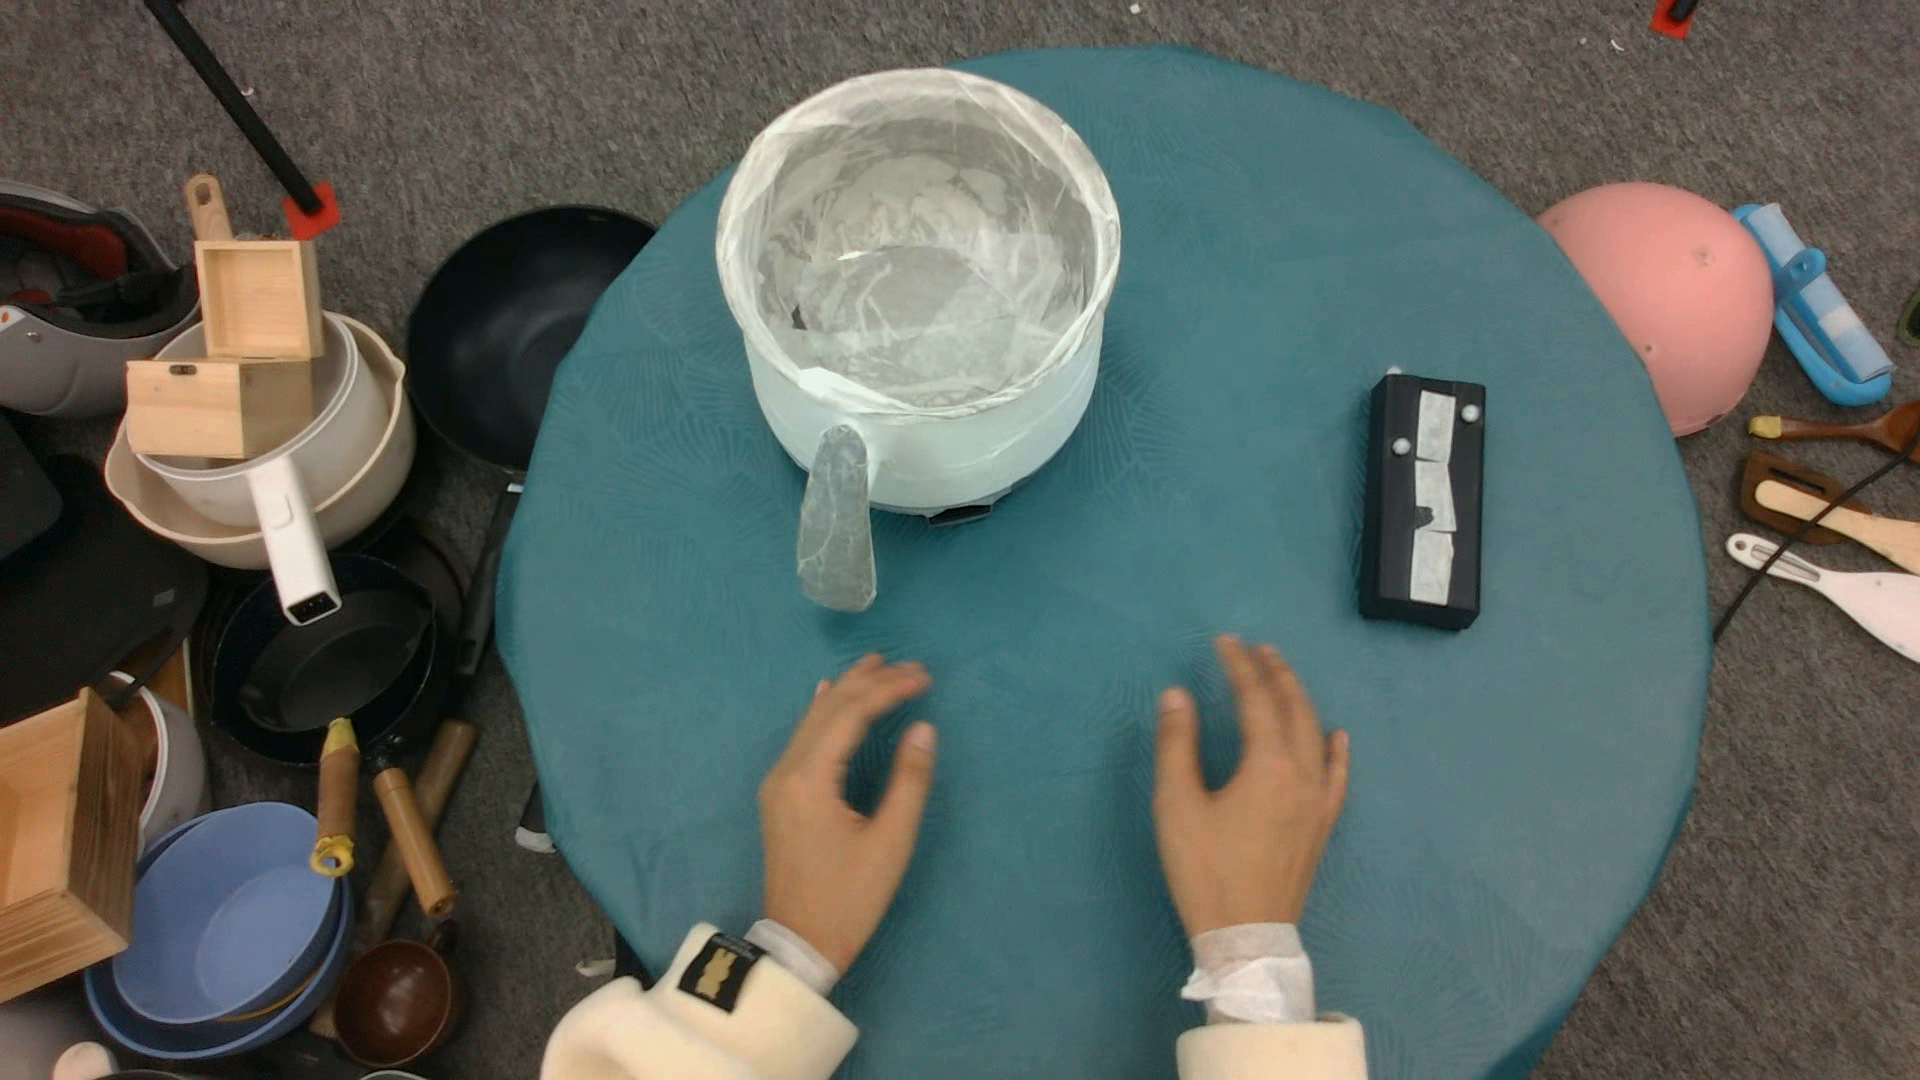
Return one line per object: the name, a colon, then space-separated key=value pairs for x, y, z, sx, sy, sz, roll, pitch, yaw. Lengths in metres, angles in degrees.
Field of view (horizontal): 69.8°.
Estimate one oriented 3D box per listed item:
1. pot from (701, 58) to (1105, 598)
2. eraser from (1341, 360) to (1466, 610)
pot: x=-0.033 y=-0.092 z=0.652 sx=0.178 sy=0.136 sz=0.234 roll=15 pitch=69 yaw=5
eraser: x=0.222 y=-0.029 z=0.691 sx=0.053 sy=0.030 sz=0.126 roll=8 pitch=71 yaw=3
